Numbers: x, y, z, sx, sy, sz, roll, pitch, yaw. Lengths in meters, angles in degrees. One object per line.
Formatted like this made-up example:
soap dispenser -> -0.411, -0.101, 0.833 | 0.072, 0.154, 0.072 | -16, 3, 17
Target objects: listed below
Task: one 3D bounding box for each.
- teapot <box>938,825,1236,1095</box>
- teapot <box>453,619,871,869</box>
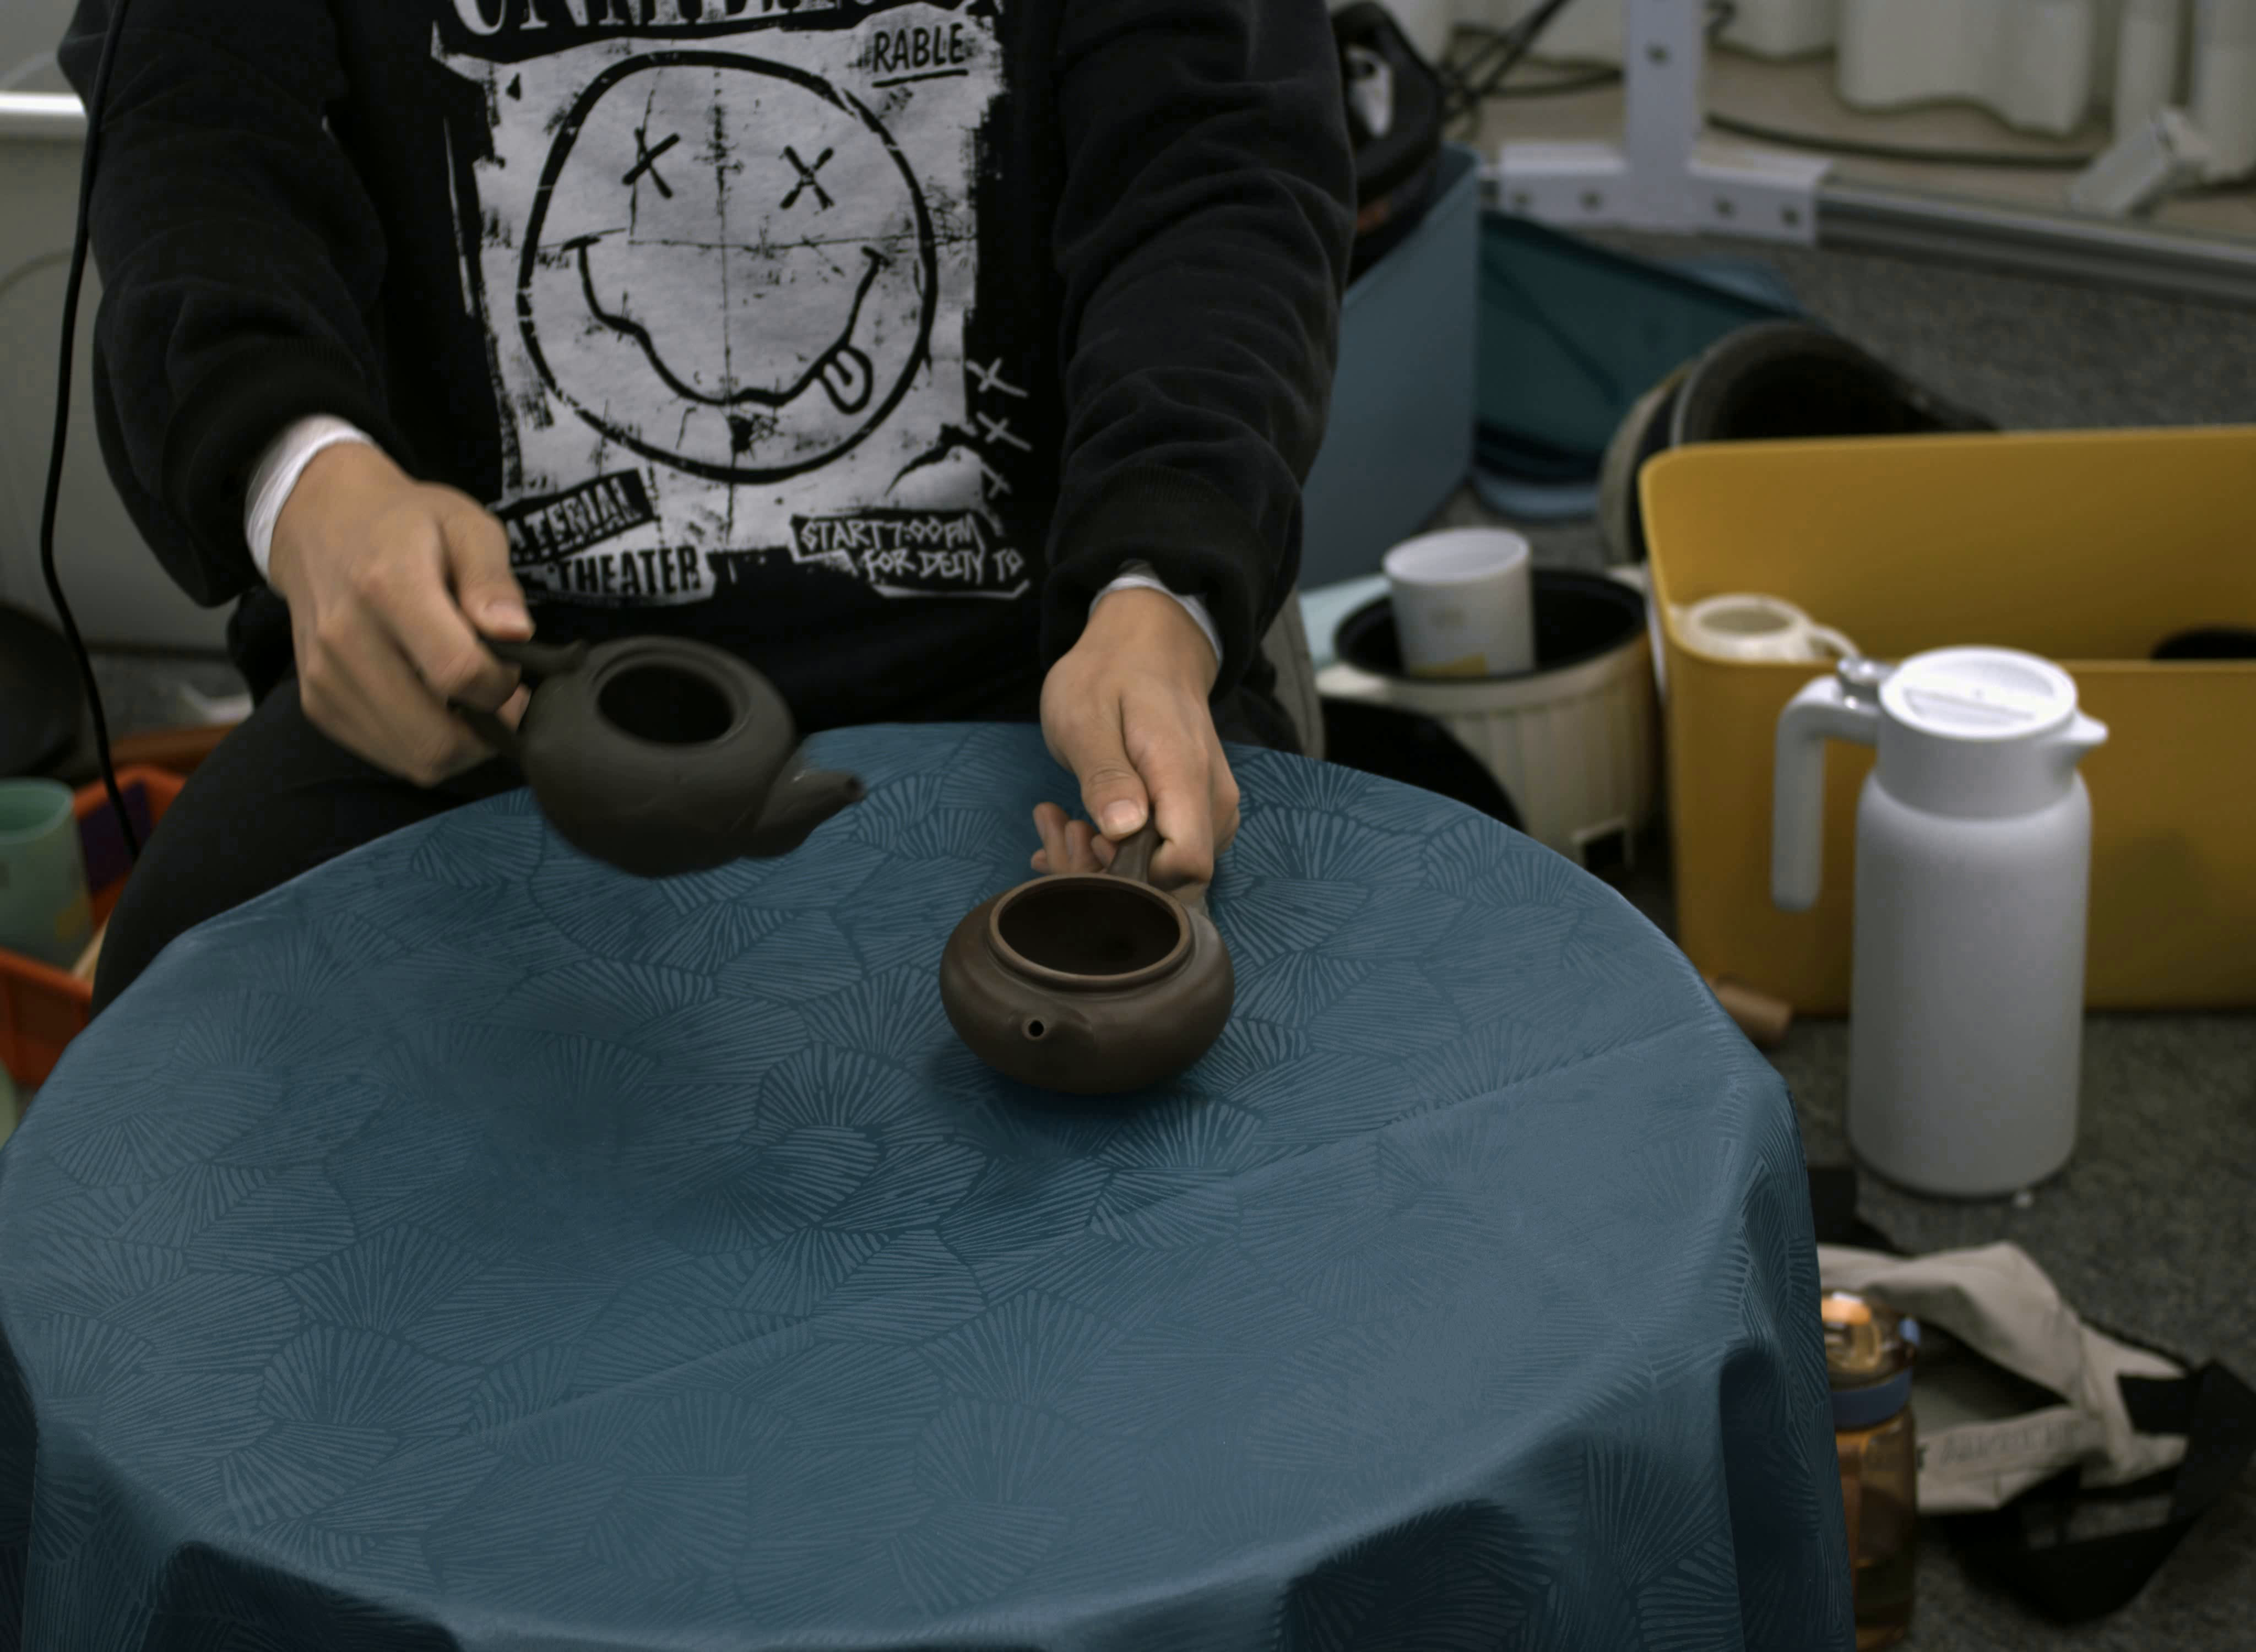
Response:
teapot -> -0.013, 0.050, 1.933 | 0.102, 0.053, 0.156 | 10, 32, 5
teapot -> -0.158, -0.027, 1.878 | 0.154, 0.063, 0.094 | 23, 35, 12
